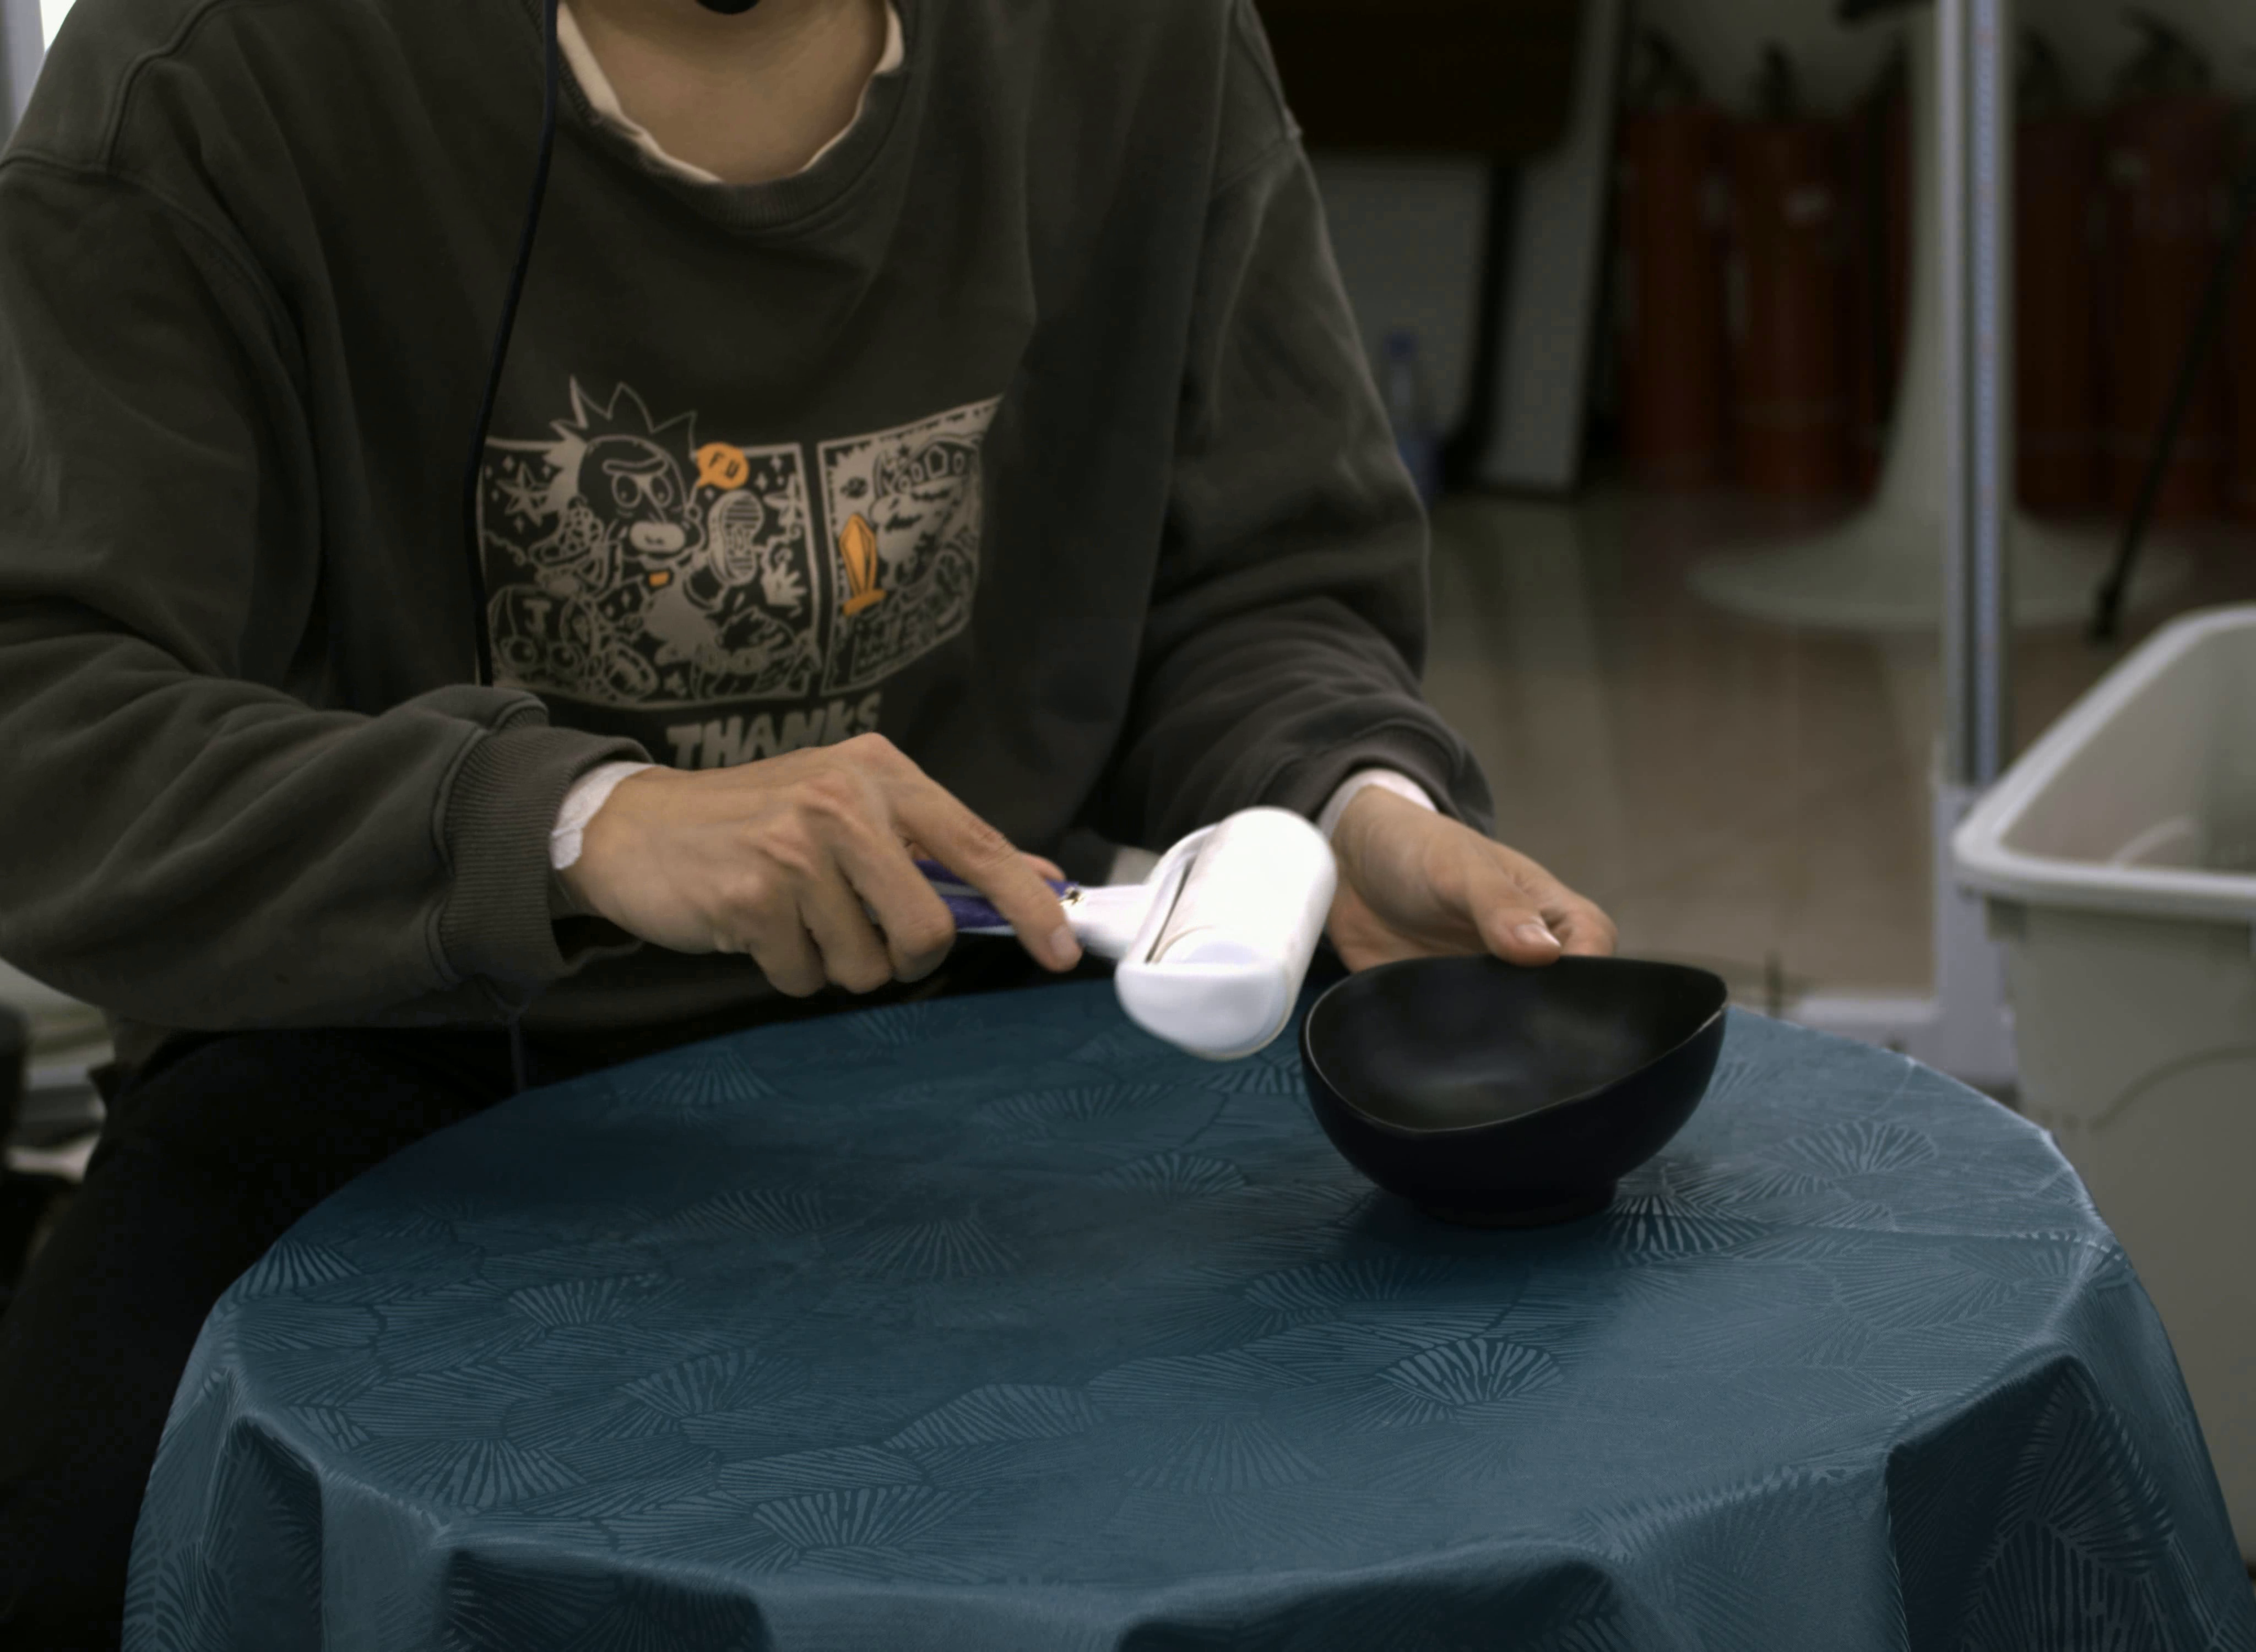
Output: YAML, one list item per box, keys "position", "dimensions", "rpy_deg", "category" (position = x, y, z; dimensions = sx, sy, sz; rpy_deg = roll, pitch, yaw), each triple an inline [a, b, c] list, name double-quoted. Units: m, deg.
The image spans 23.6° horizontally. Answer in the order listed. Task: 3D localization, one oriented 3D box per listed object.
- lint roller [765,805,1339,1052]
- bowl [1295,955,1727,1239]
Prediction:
- position: [-0.025, 0.016, 1.701]
  dimensions: [0.179, 0.051, 0.132]
  rpy_deg: [15, 22, 8]
  category: "lint roller"
- position: [0.125, 0.091, 1.732]
  dimensions: [0.137, 0.067, 0.168]
  rpy_deg: [0, 16, 22]
  category: "bowl"
